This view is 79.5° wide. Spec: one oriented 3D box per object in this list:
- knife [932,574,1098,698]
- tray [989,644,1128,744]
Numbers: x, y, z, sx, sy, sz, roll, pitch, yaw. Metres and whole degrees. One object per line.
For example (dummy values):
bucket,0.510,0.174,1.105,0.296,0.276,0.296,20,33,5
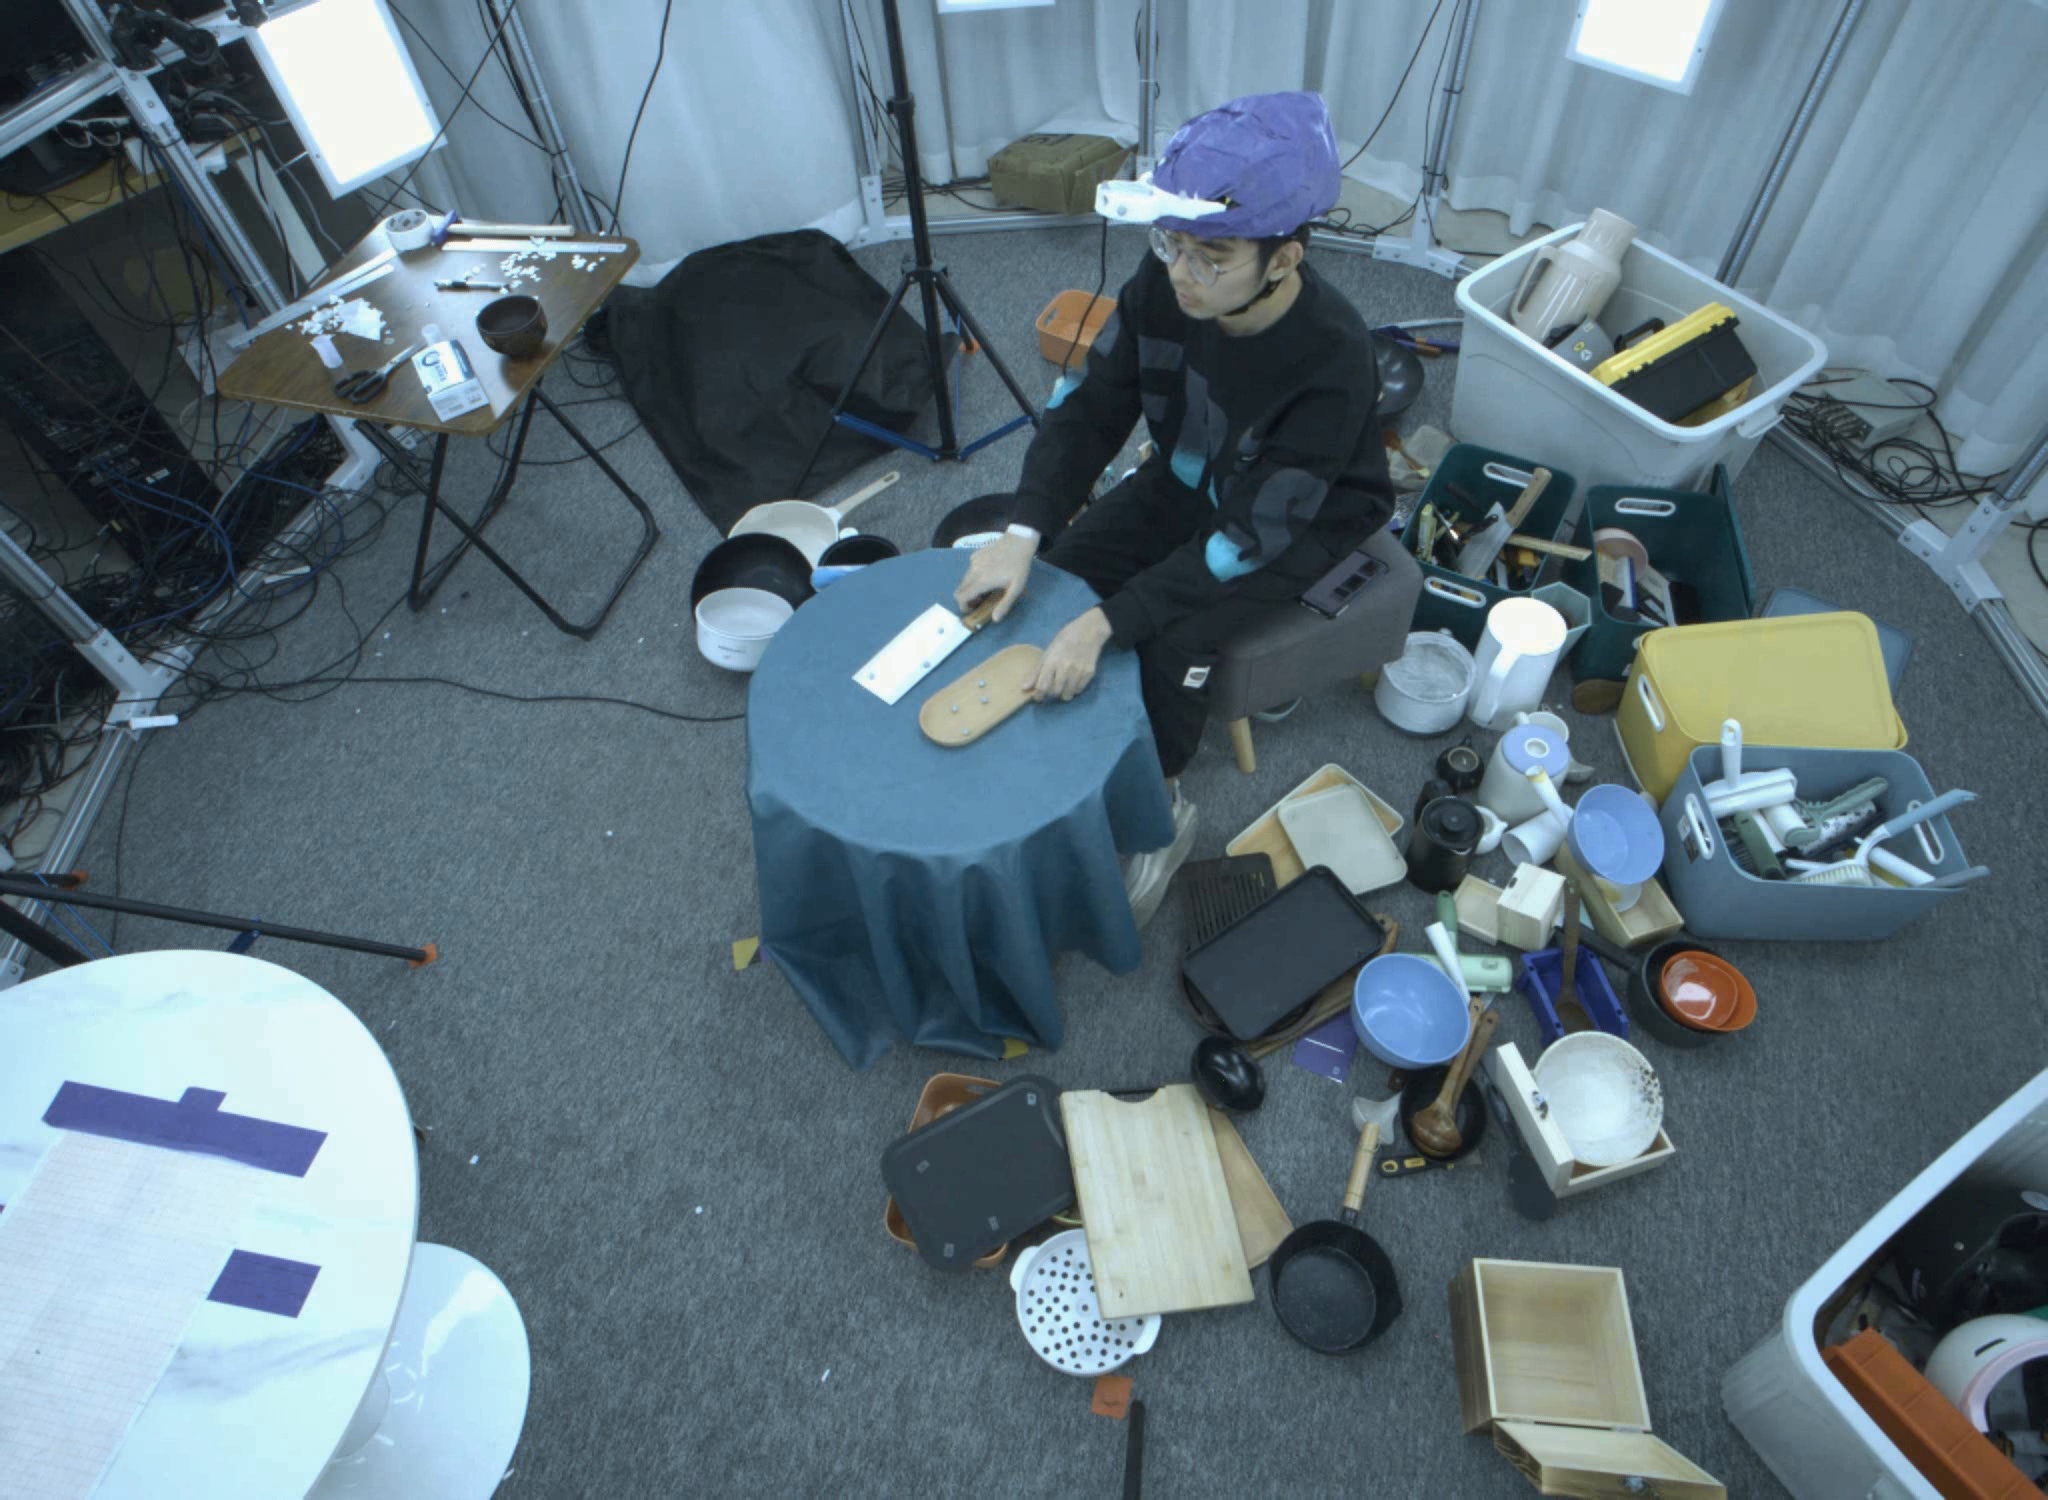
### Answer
knife,-0.017,-0.192,1.914,0.307,0.021,0.091,-41,61,-21
tray,0.053,-0.084,1.834,0.233,0.020,0.100,-31,61,-19
